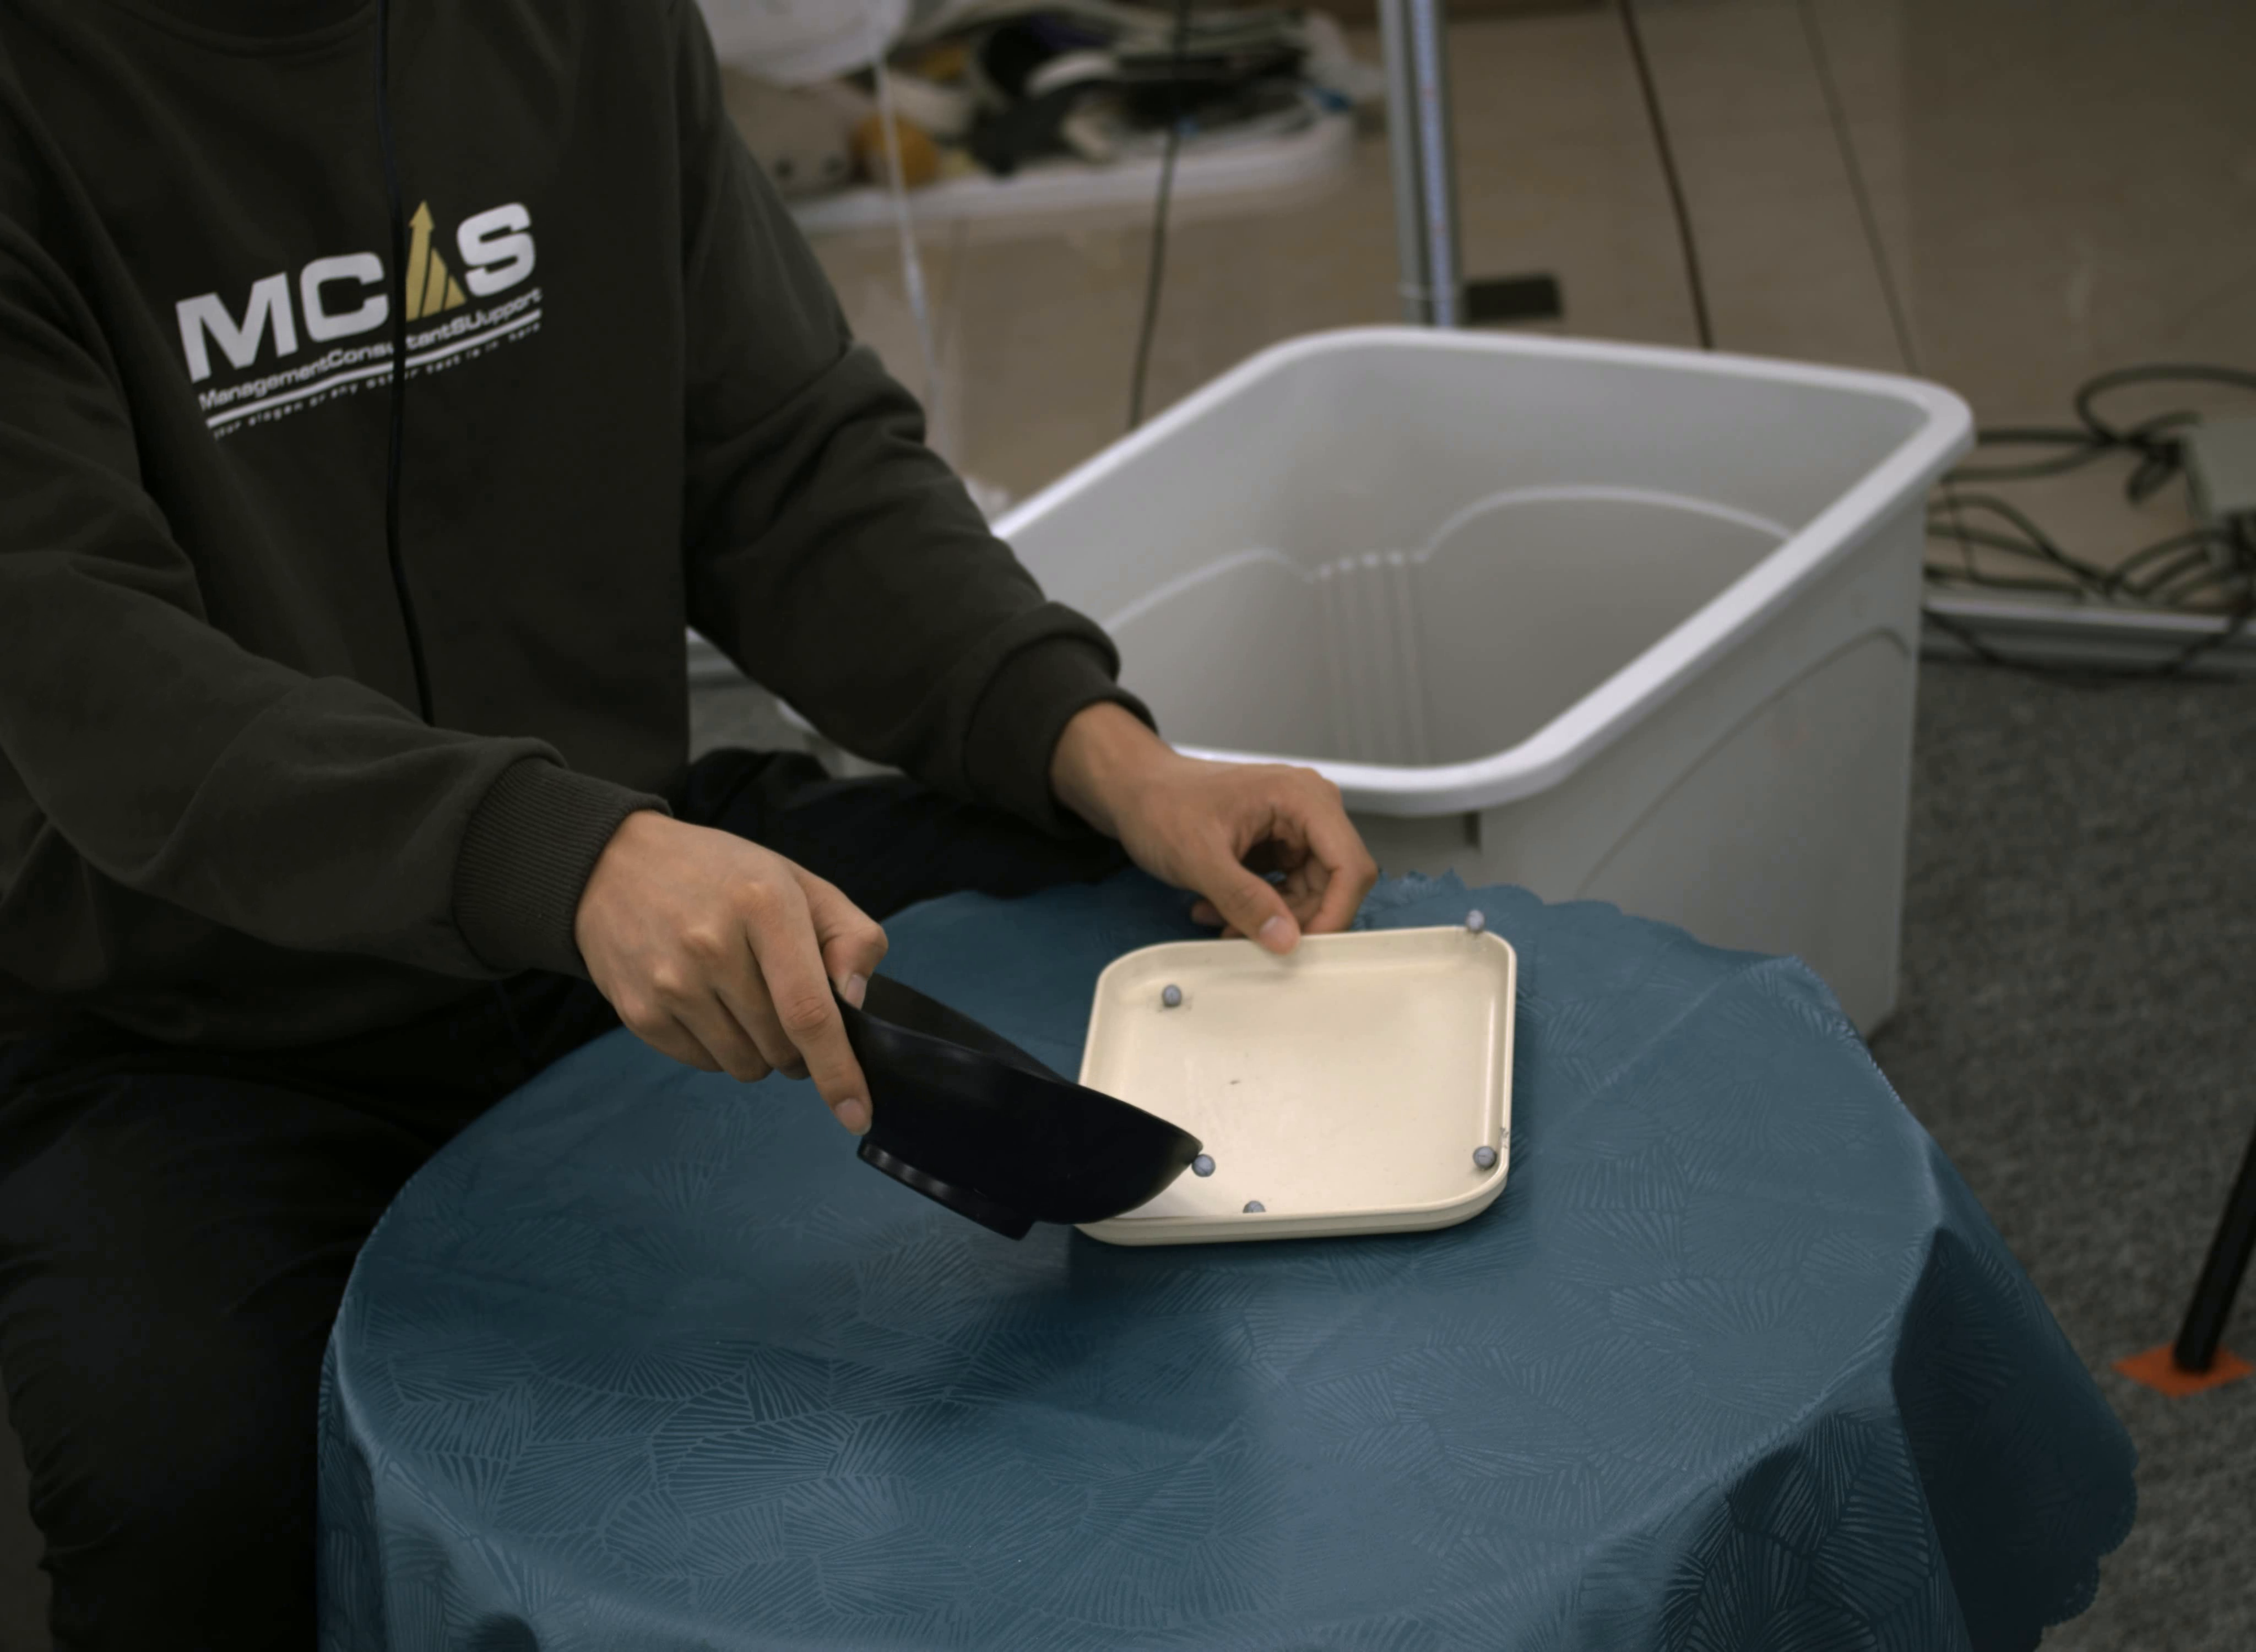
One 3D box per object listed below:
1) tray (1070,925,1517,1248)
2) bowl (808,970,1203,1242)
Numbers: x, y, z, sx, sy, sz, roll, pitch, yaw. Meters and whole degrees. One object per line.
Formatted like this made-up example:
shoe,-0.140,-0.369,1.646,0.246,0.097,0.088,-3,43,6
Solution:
tray,0.066,0.100,2.195,0.171,0.018,0.236,-4,25,7
bowl,-0.053,0.109,2.064,0.136,0.067,0.172,25,-1,39
